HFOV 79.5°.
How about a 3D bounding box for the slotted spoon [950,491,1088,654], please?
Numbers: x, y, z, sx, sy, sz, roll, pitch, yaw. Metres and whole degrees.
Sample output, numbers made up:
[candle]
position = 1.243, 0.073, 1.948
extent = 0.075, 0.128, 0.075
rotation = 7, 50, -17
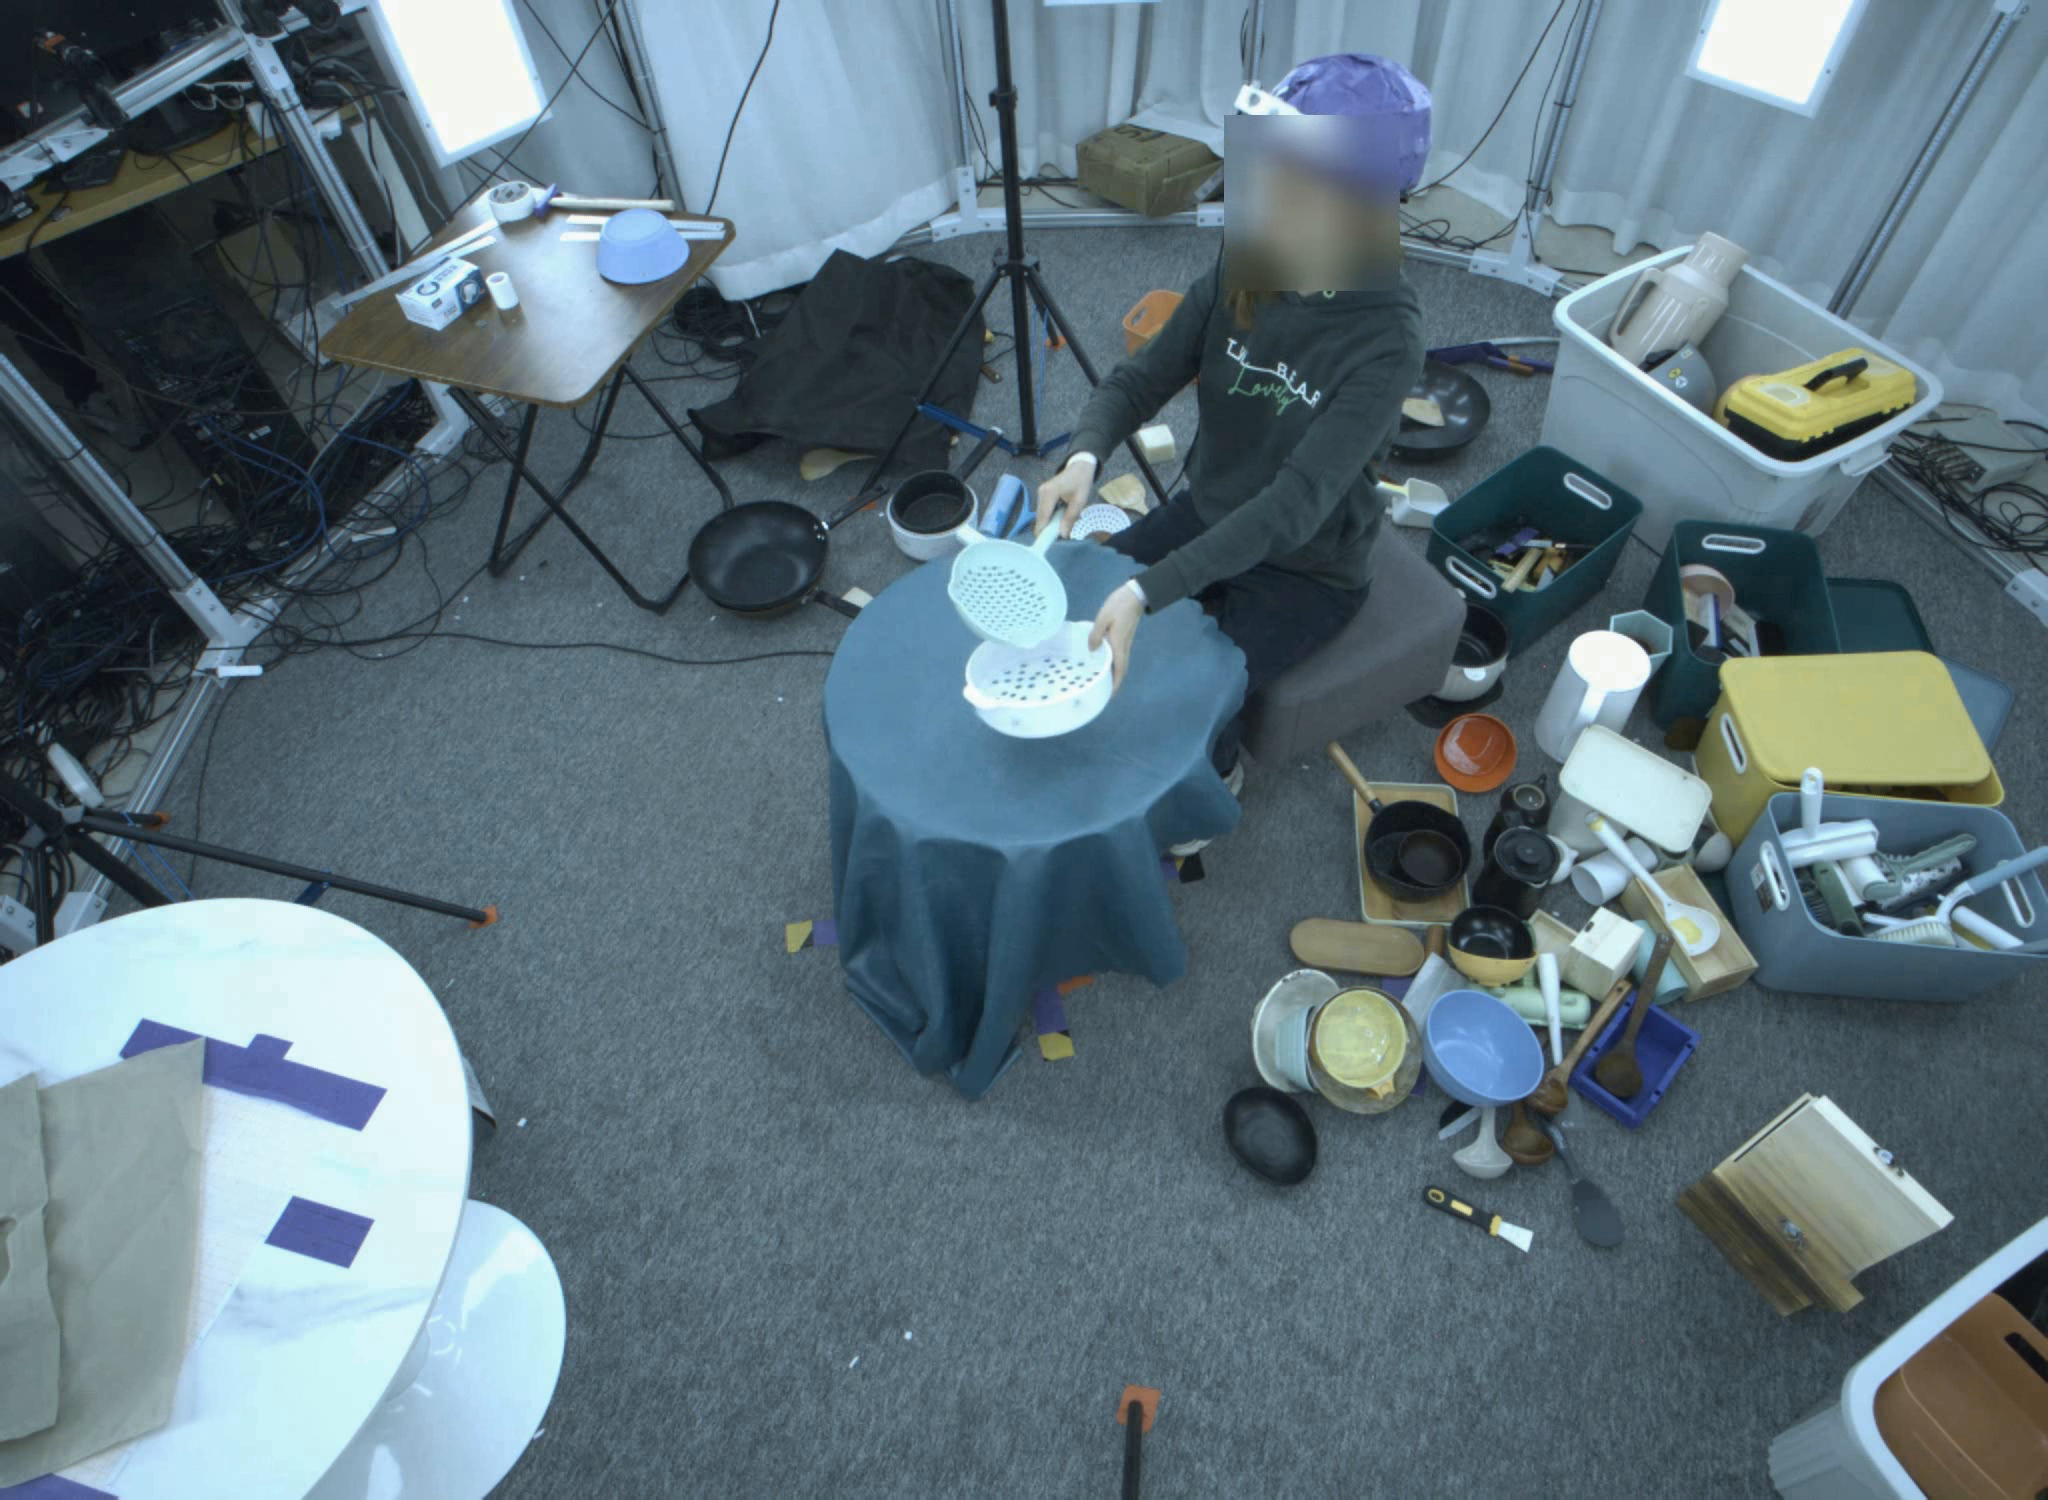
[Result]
[slotted spoon]
position = 0.018, -0.272, 1.738
extent = 0.170, 0.075, 0.359
rotation = 36, 60, -7

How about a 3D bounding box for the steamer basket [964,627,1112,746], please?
[steamer basket]
position = 0.023, -0.088, 1.704
extent = 0.233, 0.070, 0.197
rotation = -33, 46, -26
